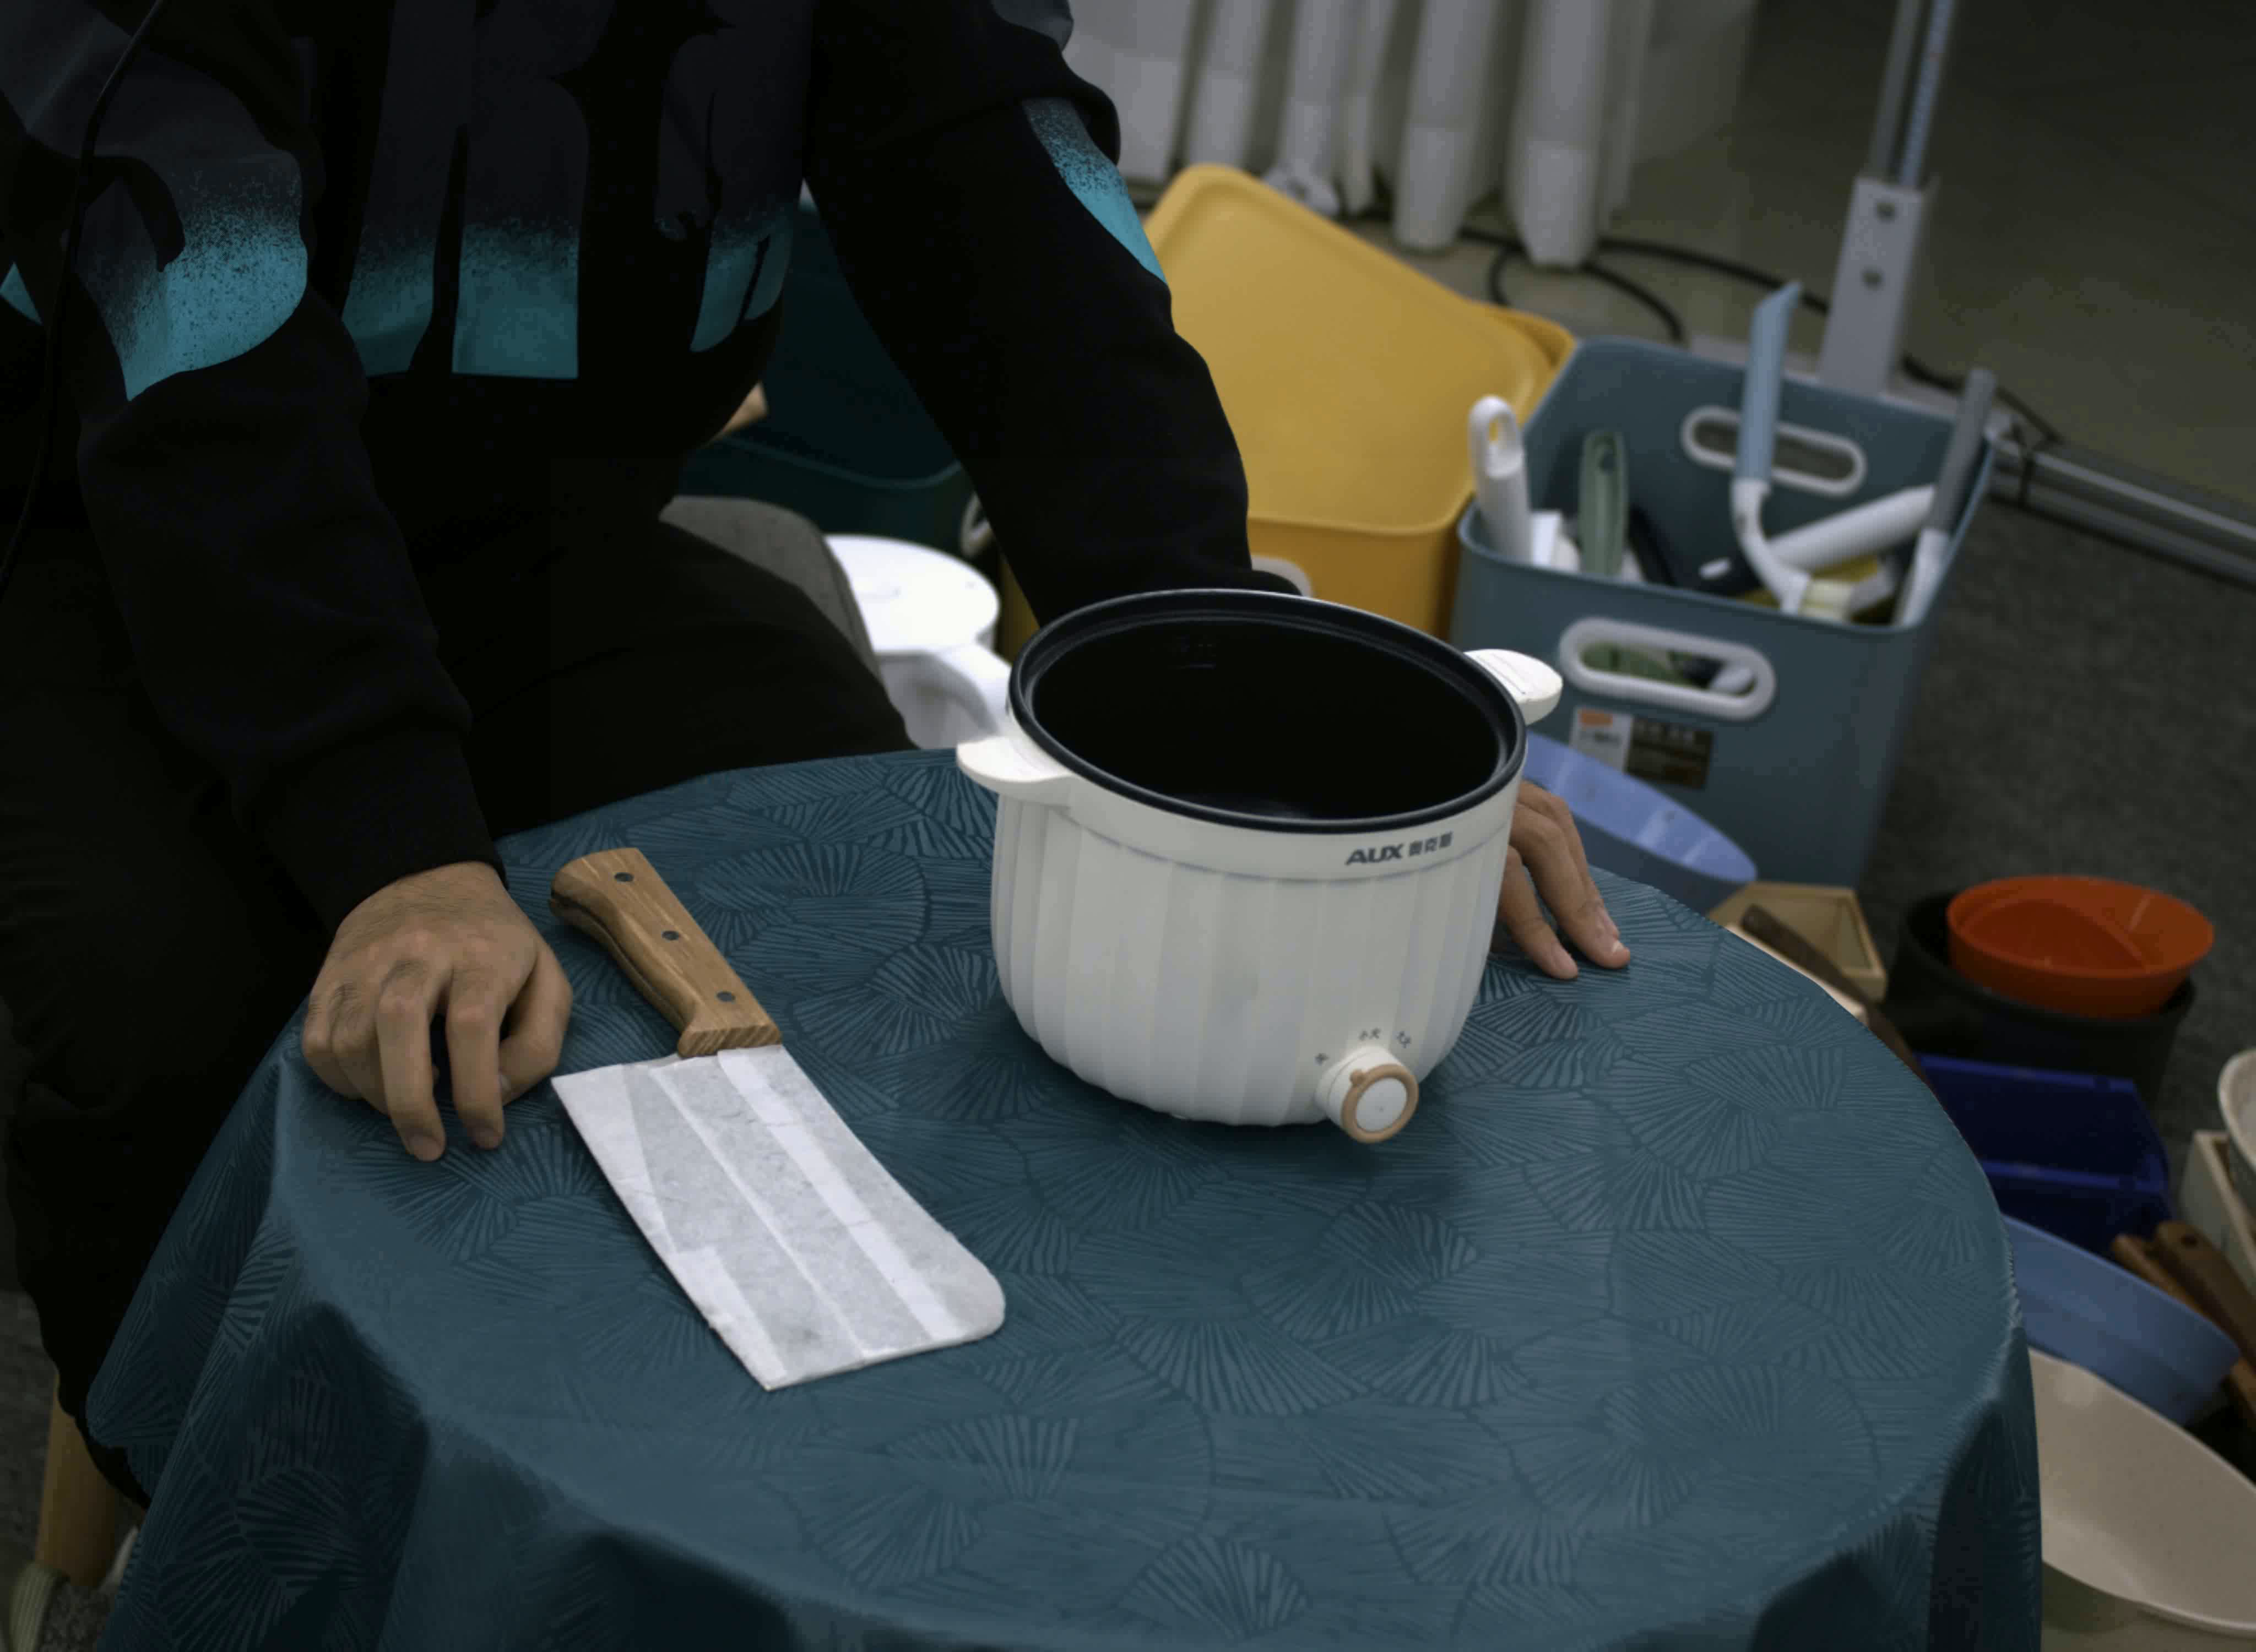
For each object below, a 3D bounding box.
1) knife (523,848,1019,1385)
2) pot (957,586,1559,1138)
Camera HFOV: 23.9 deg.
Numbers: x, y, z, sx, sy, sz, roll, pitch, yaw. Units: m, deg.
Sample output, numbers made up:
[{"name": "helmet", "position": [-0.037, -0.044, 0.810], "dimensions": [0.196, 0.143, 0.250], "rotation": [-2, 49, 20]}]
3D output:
[{"name": "knife", "position": [-0.137, 0.094, 1.810], "dimensions": [0.113, 0.021, 0.318], "rotation": [-7, 32, -23]}, {"name": "pot", "position": [0.045, 0.017, 1.869], "dimensions": [0.239, 0.142, 0.192], "rotation": [-11, 28, -28]}]
